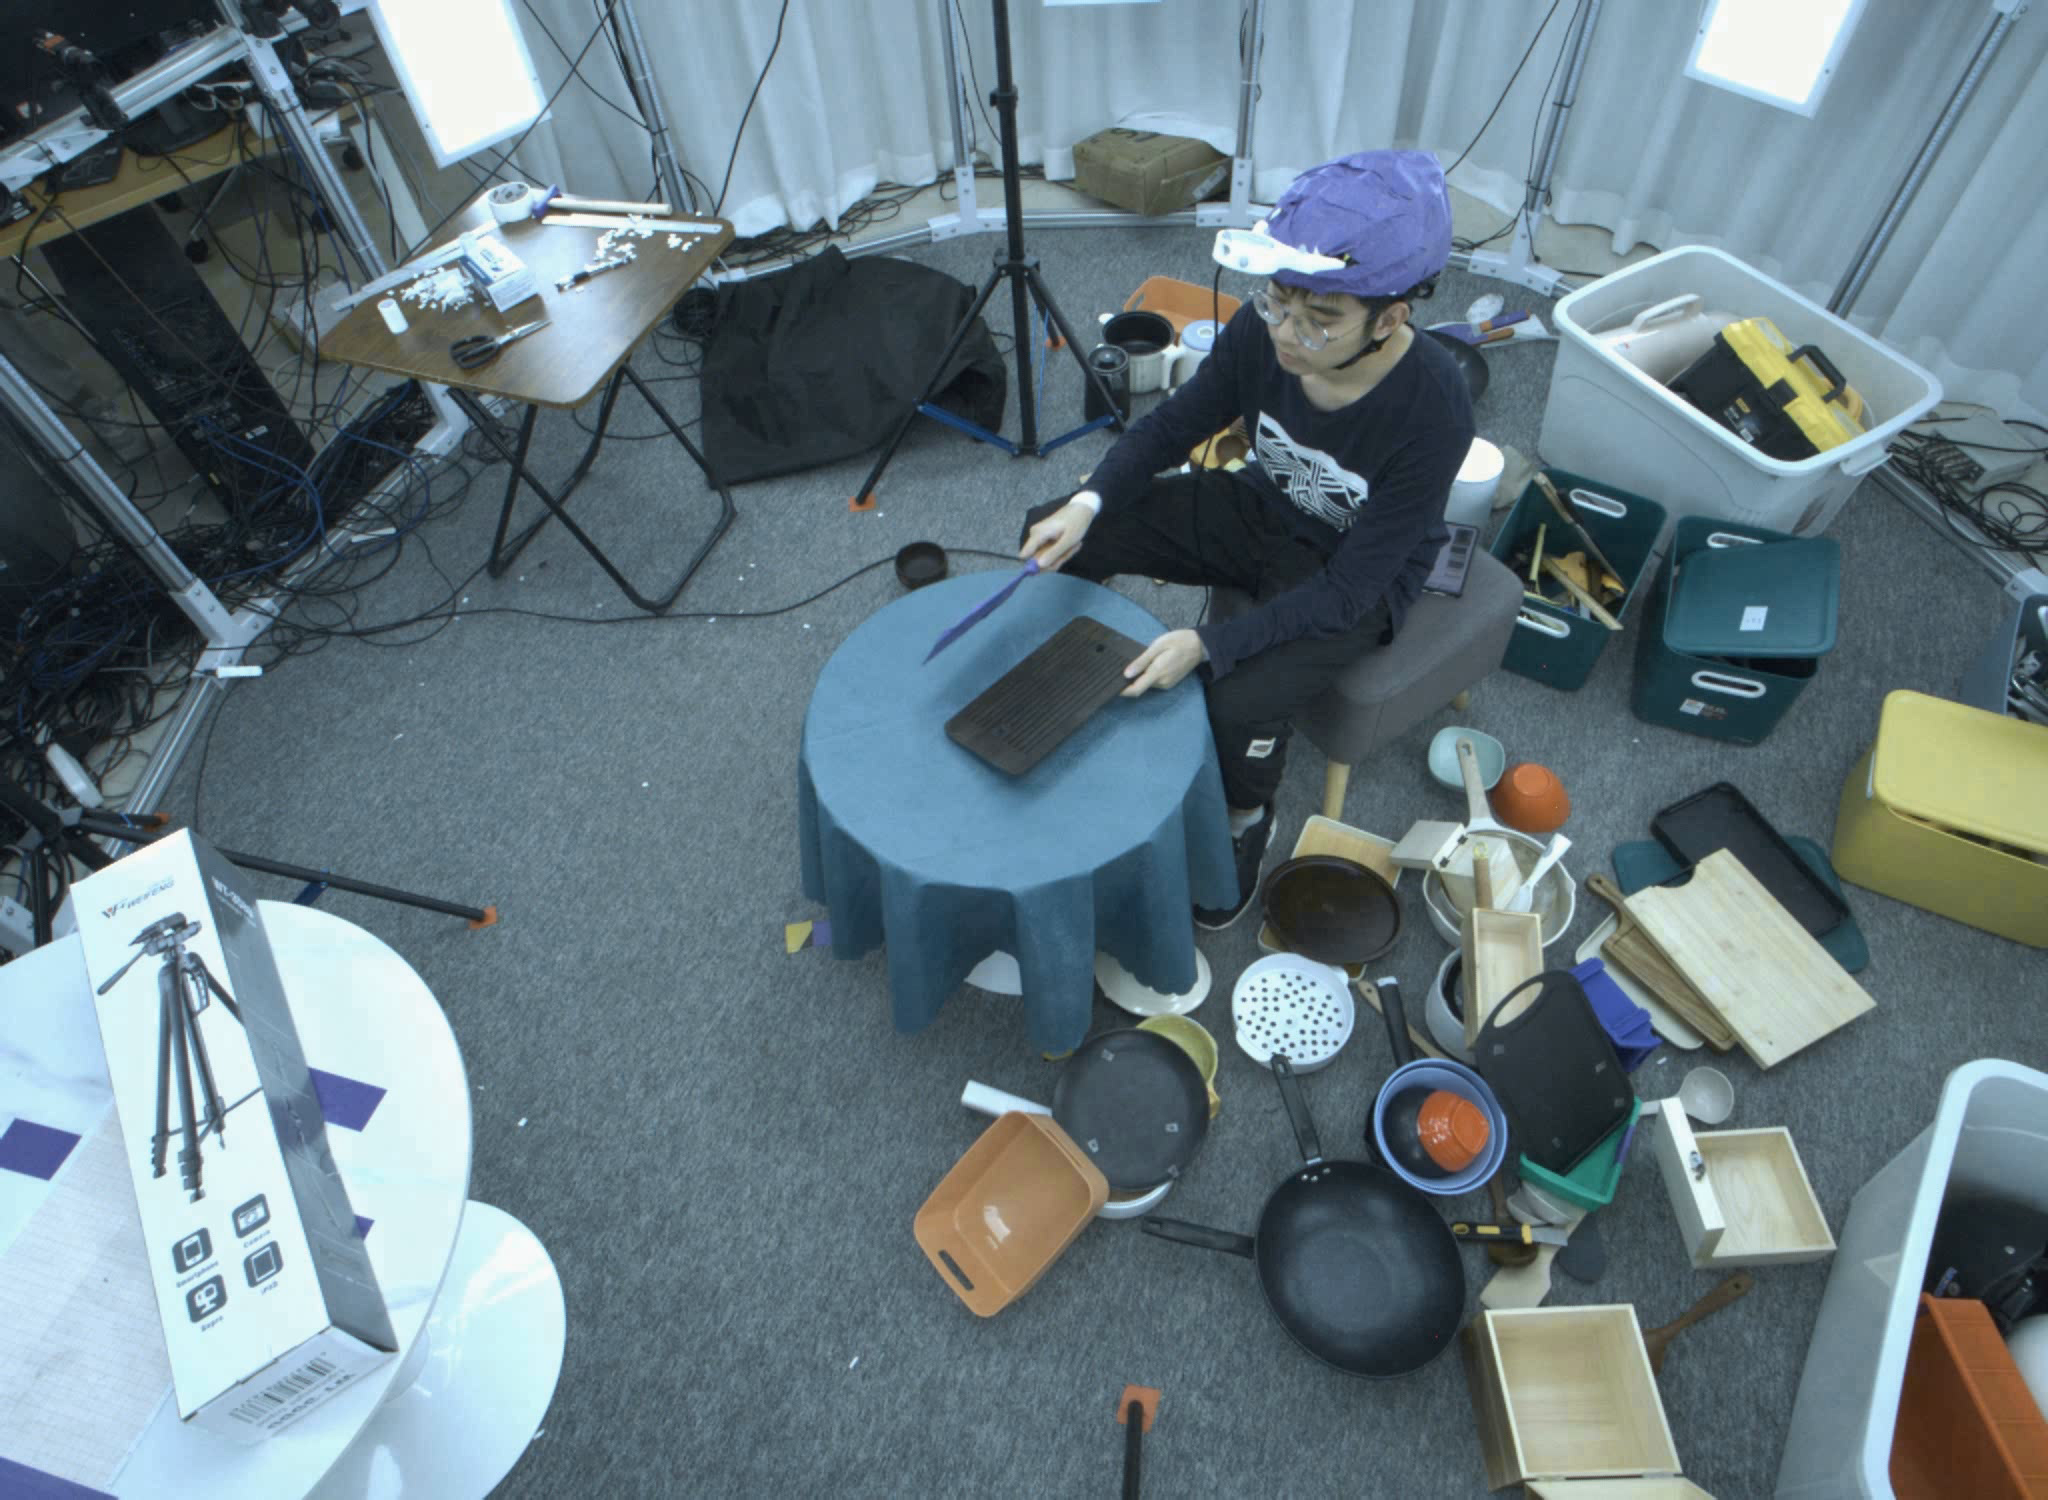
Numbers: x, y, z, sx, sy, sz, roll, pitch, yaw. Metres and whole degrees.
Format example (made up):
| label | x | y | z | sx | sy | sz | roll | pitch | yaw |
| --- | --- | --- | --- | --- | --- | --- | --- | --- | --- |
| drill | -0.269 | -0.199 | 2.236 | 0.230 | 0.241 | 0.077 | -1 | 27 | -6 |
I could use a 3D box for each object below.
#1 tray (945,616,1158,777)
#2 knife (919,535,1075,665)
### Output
| label | x | y | z | sx | sy | sz | roll | pitch | yaw |
| --- | --- | --- | --- | --- | --- | --- | --- | --- | --- |
| tray | 0.043 | -0.083 | 1.824 | 0.166 | 0.019 | 0.308 | 32 | 60 | 34 |
| knife | -0.044 | -0.230 | 1.865 | 0.318 | 0.103 | 0.032 | -39 | 87 | -32 |
